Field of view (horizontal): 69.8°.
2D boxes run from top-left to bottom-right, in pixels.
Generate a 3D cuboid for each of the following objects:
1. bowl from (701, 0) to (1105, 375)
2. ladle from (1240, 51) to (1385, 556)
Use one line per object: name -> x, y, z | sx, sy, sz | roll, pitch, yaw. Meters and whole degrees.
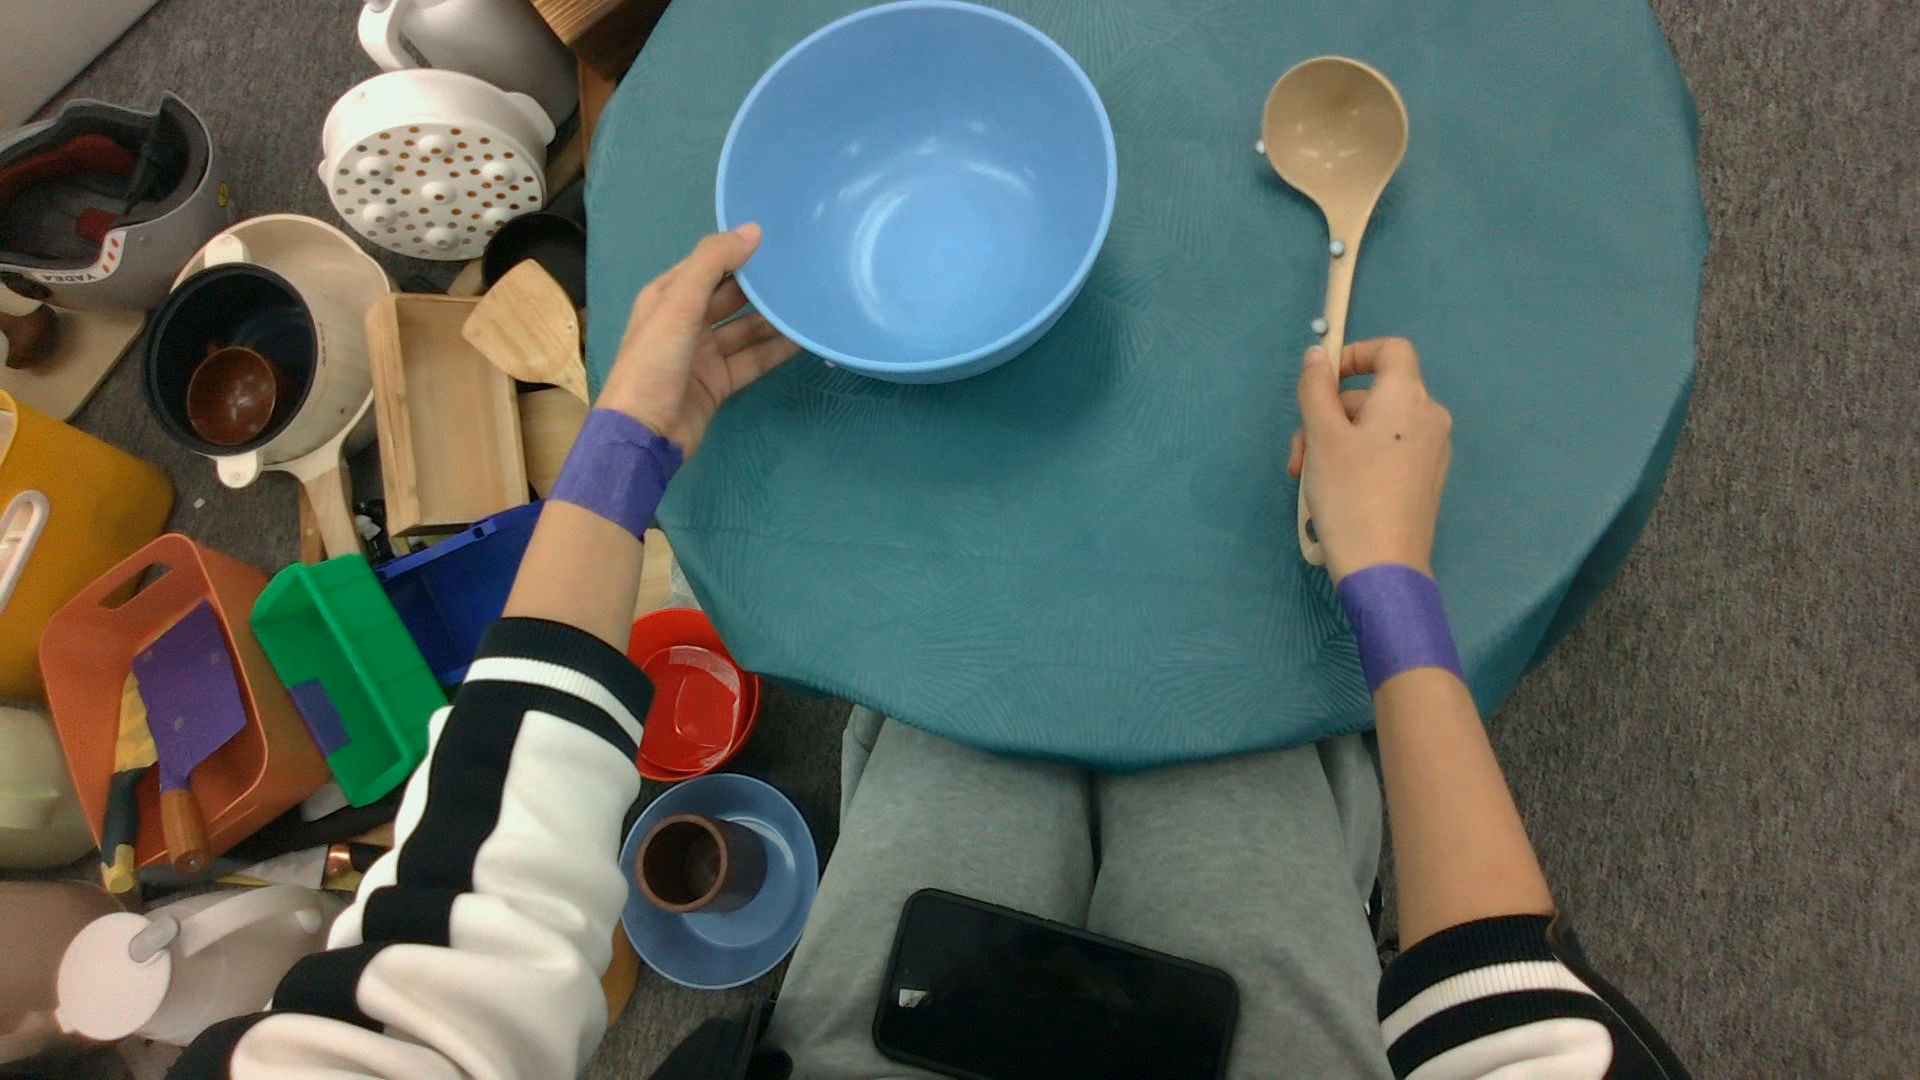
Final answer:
bowl -> -0.025, -0.166, 0.709 | 0.196, 0.095, 0.197 | -1, 75, 4
ladle -> 0.166, -0.123, 0.666 | 0.072, 0.073, 0.255 | -6, 63, 32
